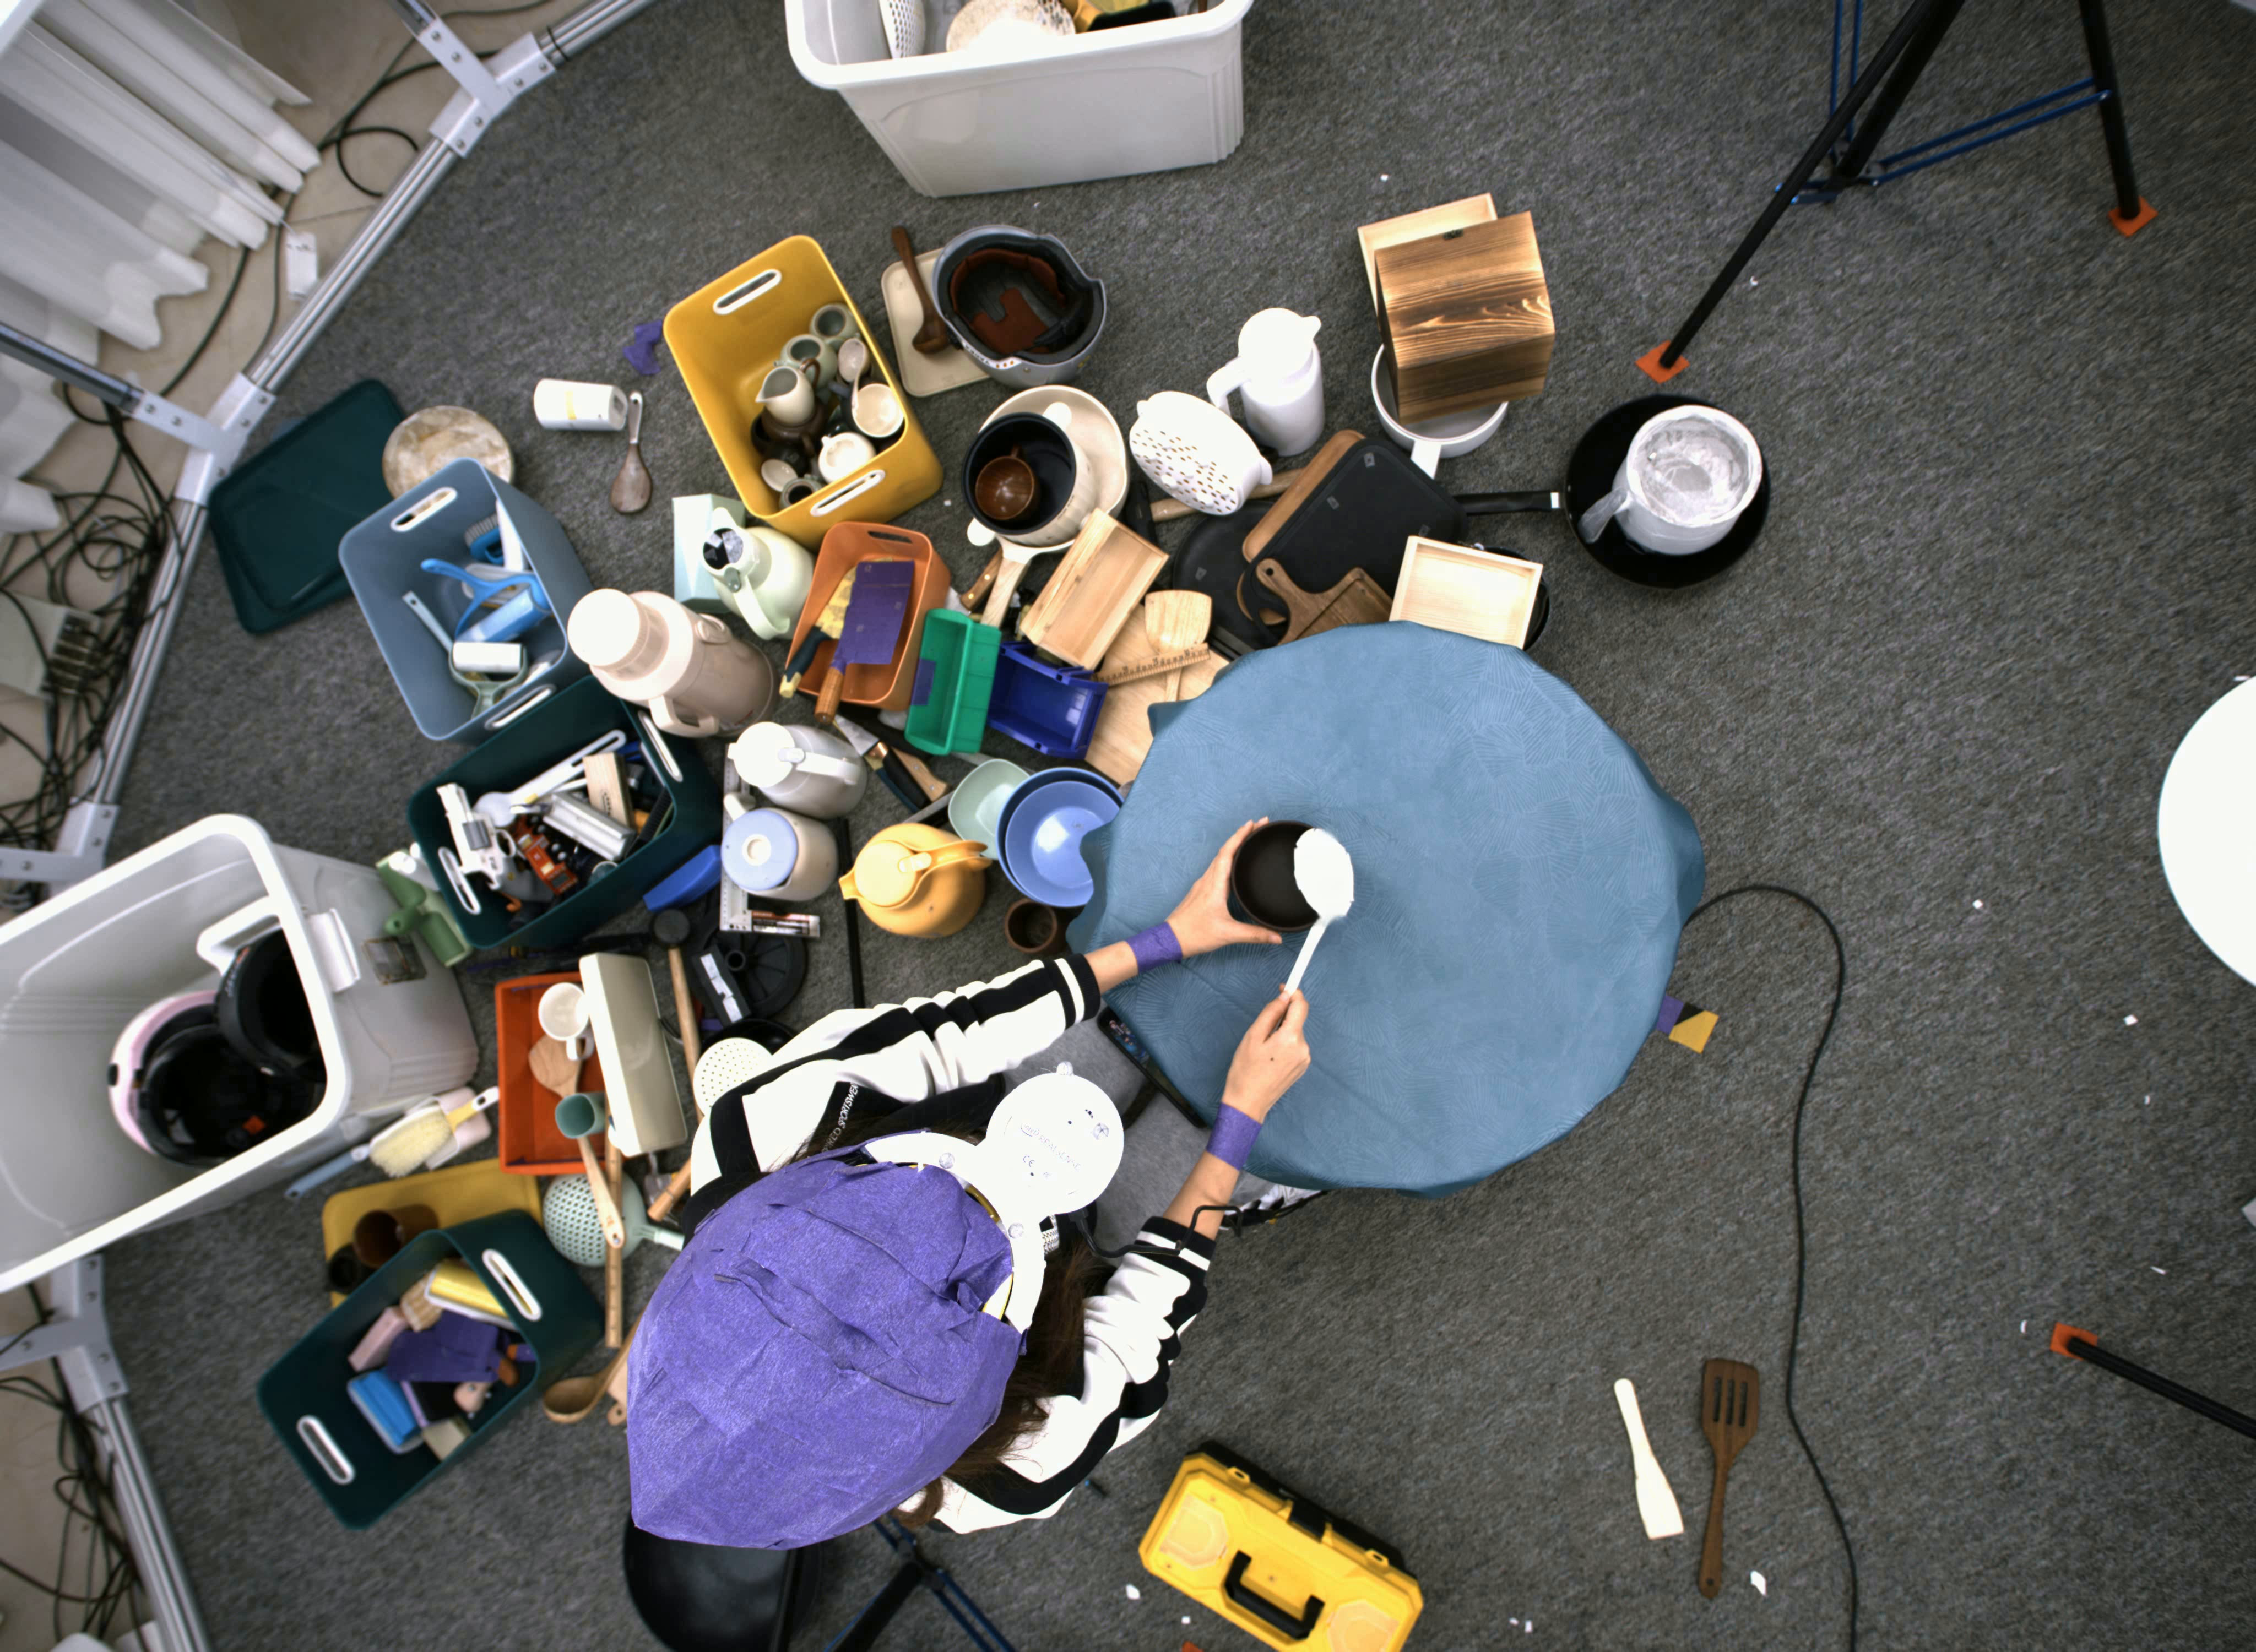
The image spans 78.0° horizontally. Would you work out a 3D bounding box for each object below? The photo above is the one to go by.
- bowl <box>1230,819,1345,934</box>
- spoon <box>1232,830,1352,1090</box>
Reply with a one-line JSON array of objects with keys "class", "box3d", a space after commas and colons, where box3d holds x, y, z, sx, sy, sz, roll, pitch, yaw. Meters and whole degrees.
[{"class": "bowl", "box3d": [0.167, 0.054, 1.443, 0.118, 0.070, 0.117, -1, 86, 10]}, {"class": "spoon", "box3d": [0.150, 0.136, 1.395, 0.059, 0.099, 0.279, 21, 100, -31]}]
